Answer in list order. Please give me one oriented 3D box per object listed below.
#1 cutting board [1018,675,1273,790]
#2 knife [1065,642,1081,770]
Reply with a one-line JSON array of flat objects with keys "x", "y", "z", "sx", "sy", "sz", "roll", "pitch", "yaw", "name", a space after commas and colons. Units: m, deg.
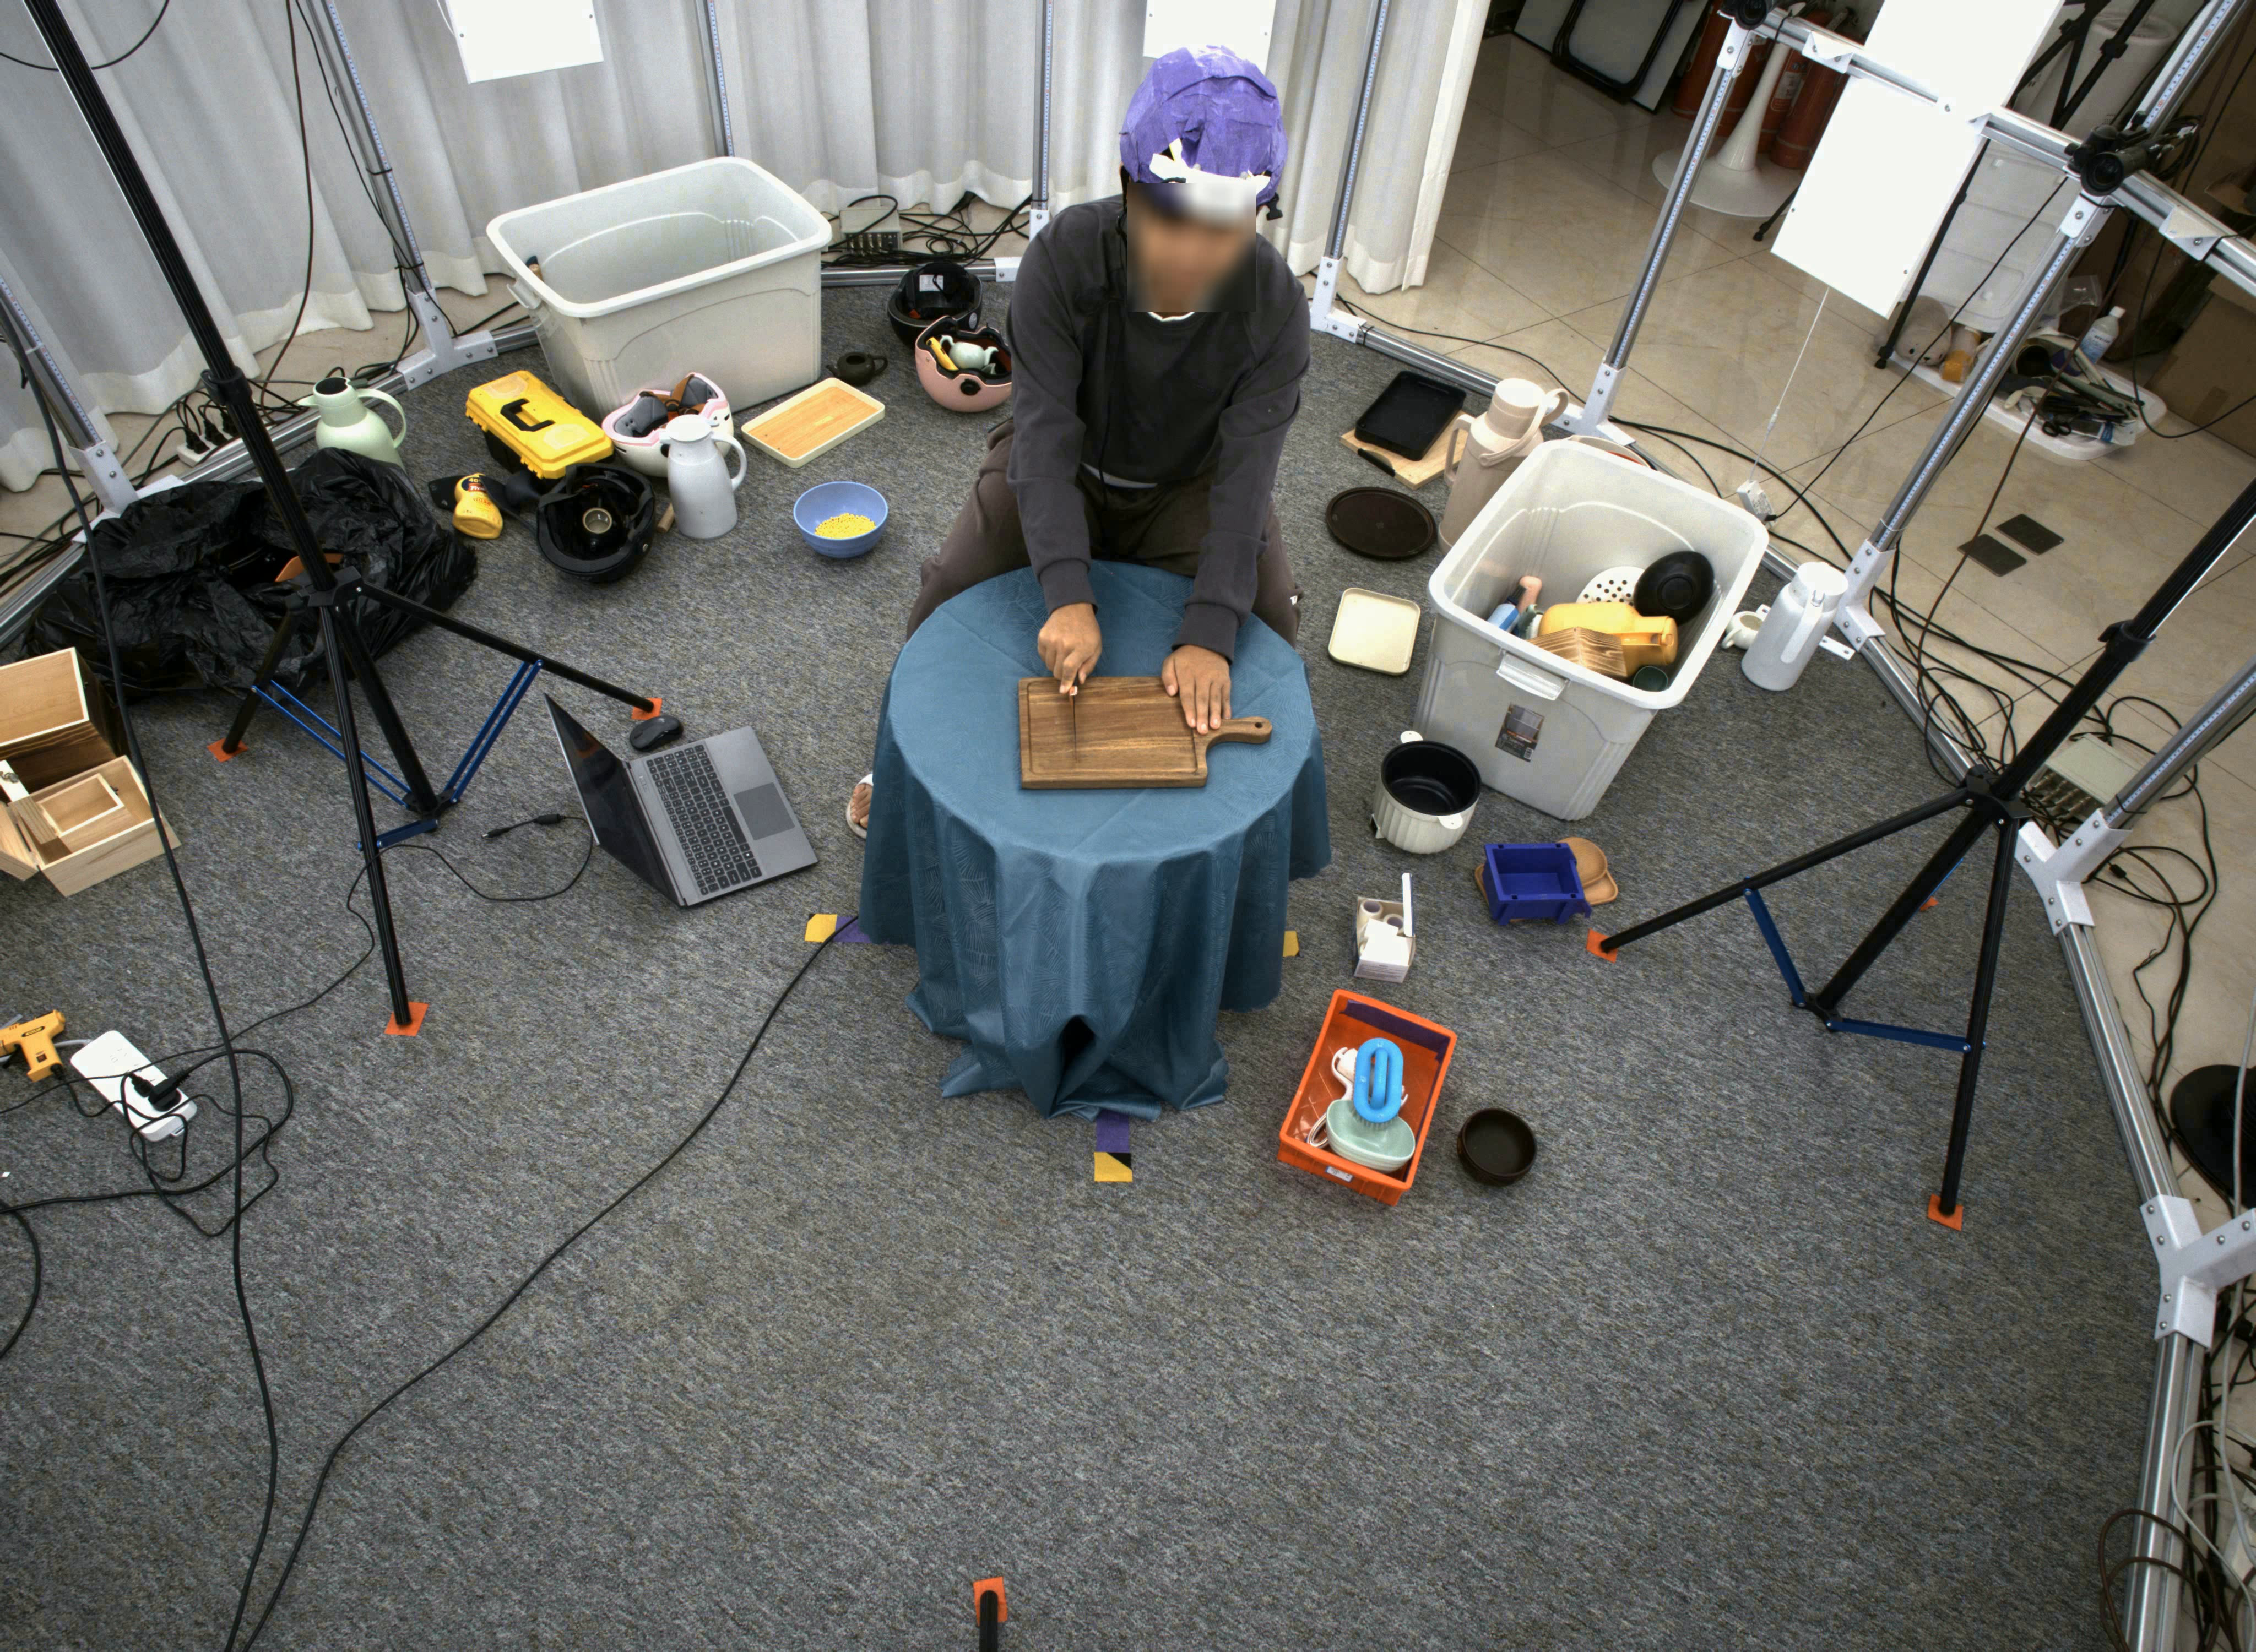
[{"x": 0.026, "y": -0.132, "z": 1.768, "sx": 0.351, "sy": 0.022, "sz": 0.206, "roll": -1, "pitch": 49, "yaw": -5, "name": "cutting board"}, {"x": -0.074, "y": -0.169, "z": 1.769, "sx": 0.017, "sy": 0.025, "sz": 0.231, "roll": -7, "pitch": 52, "yaw": 1, "name": "knife"}]
